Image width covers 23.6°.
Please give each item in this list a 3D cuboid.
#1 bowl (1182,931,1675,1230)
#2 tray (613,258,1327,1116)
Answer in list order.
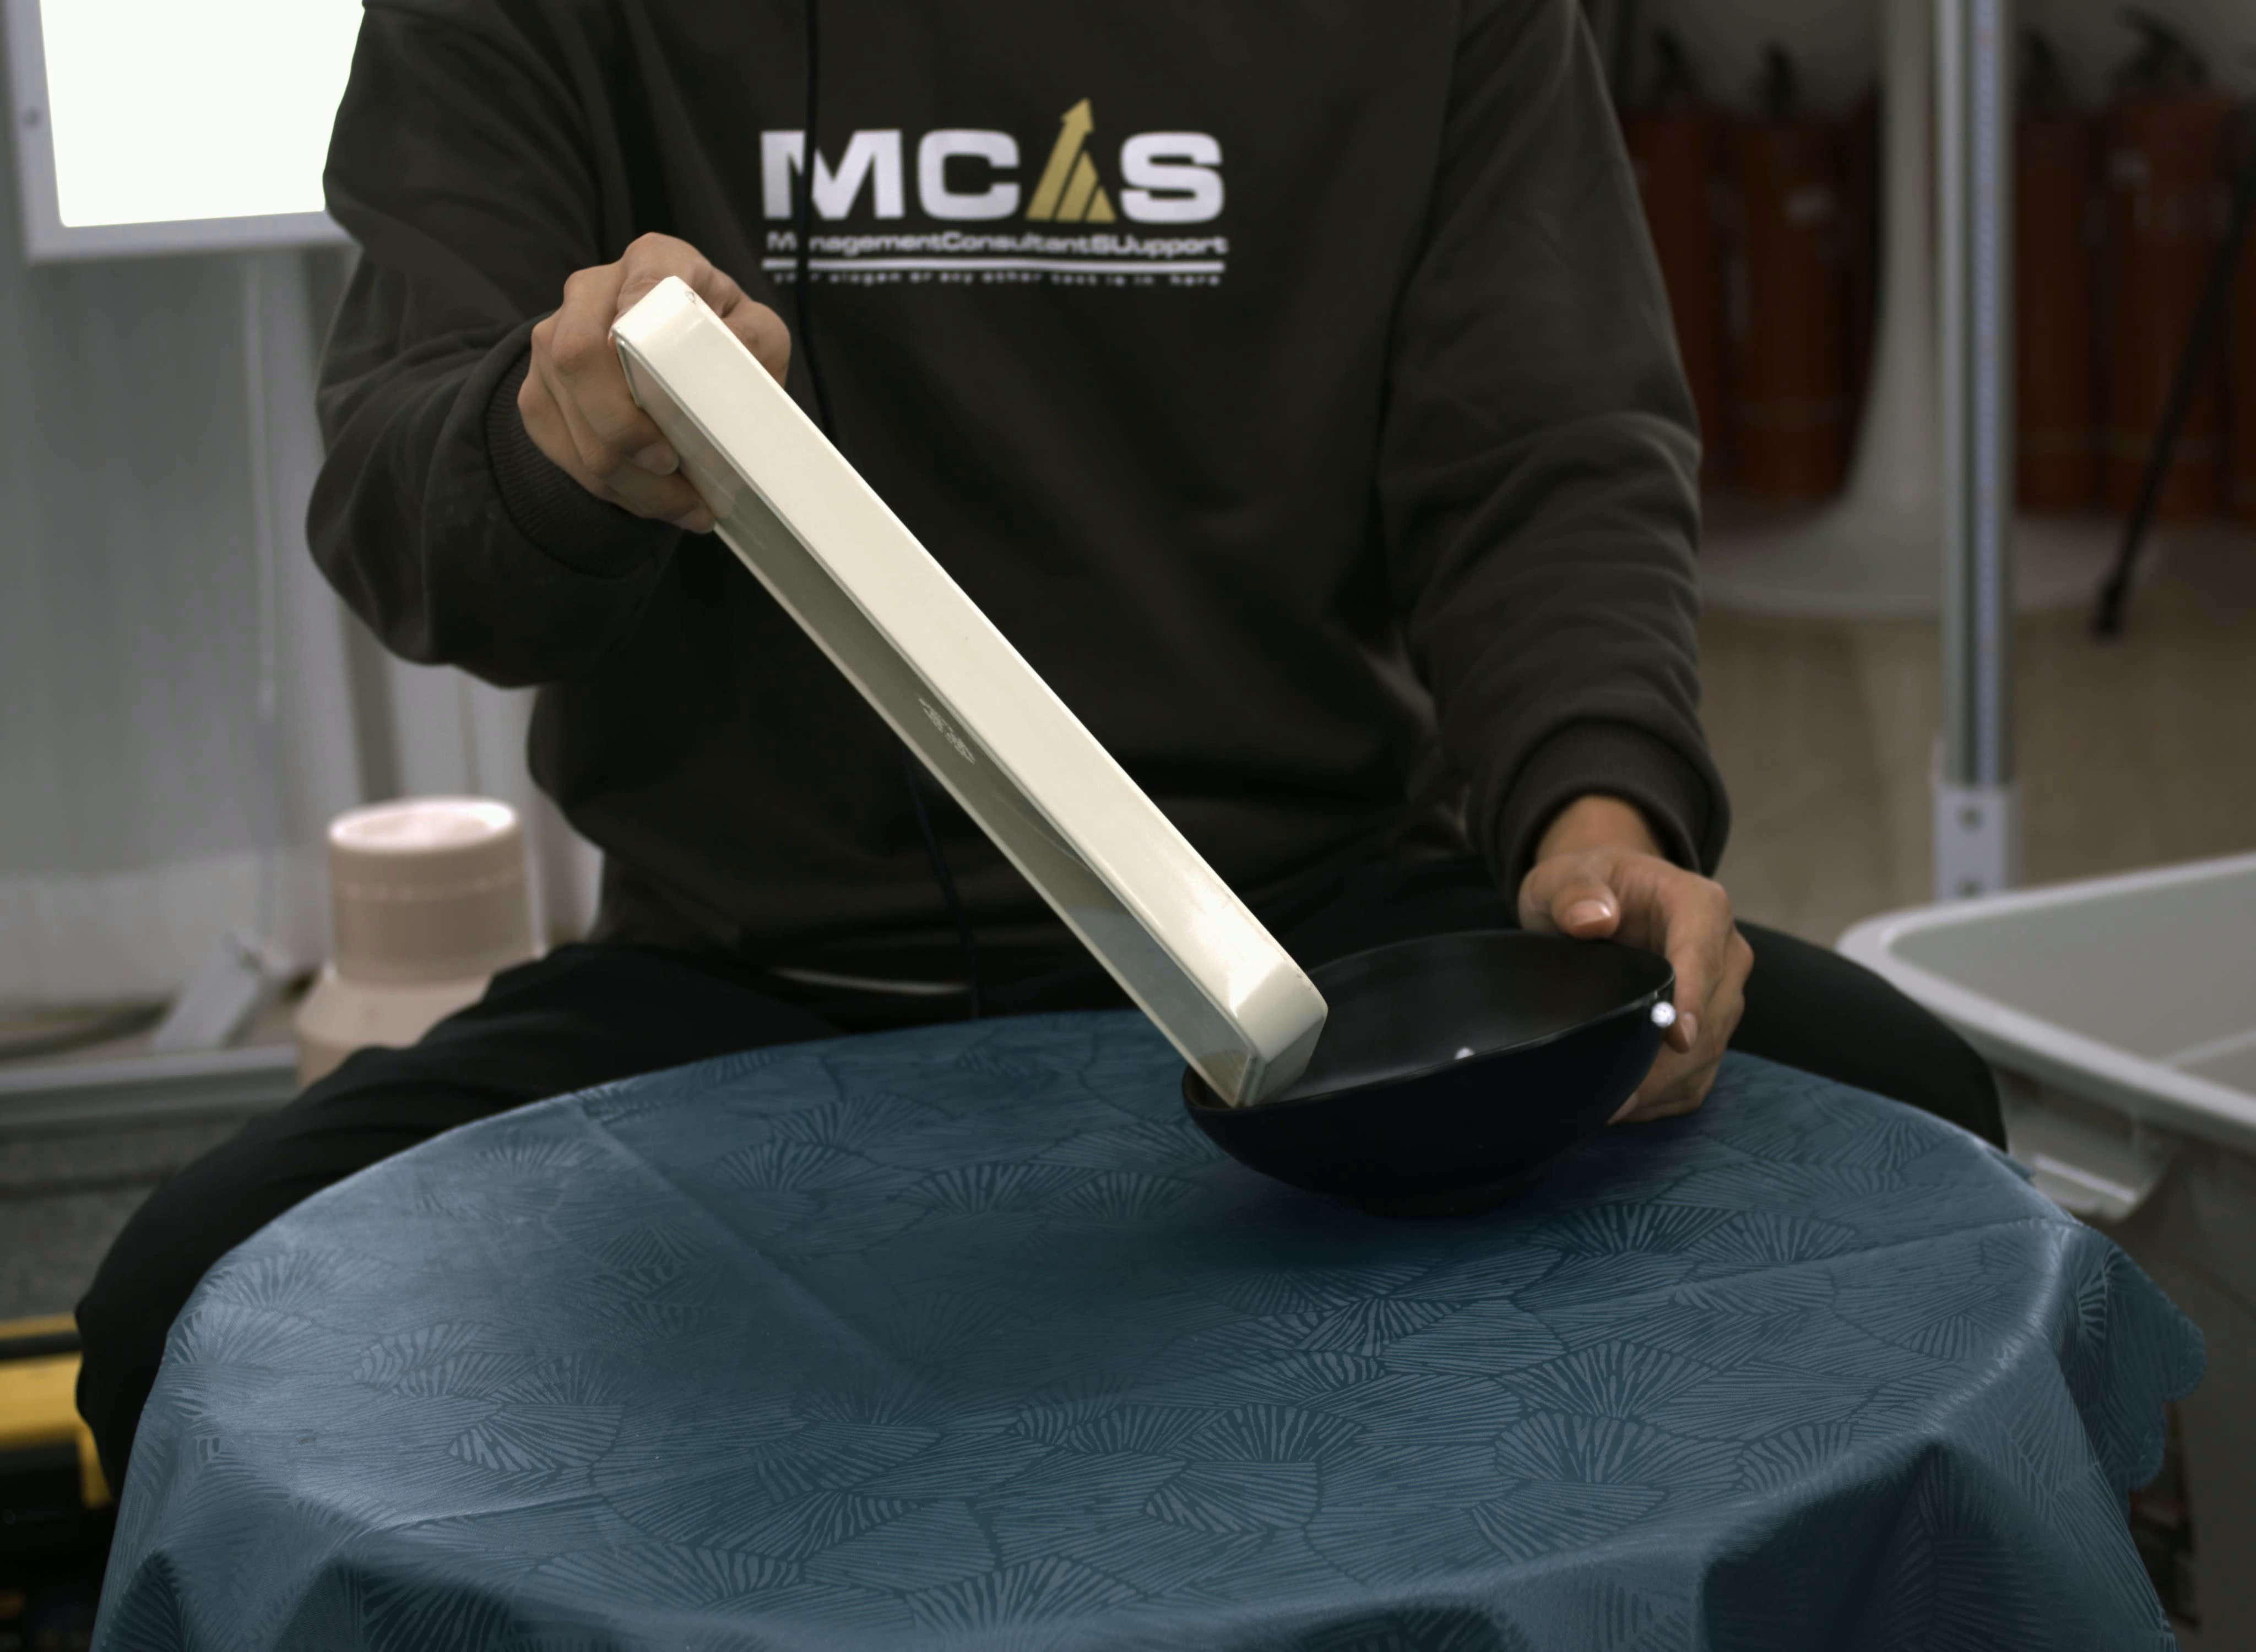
[{"bbox_3d":[0.102,0.089,1.744,0.167,0.067,0.138,-17,14,-18],"label":"bowl"},{"bbox_3d":[-0.049,-0.037,1.675,0.027,0.302,0.191,-40,-8,-7],"label":"tray"}]
